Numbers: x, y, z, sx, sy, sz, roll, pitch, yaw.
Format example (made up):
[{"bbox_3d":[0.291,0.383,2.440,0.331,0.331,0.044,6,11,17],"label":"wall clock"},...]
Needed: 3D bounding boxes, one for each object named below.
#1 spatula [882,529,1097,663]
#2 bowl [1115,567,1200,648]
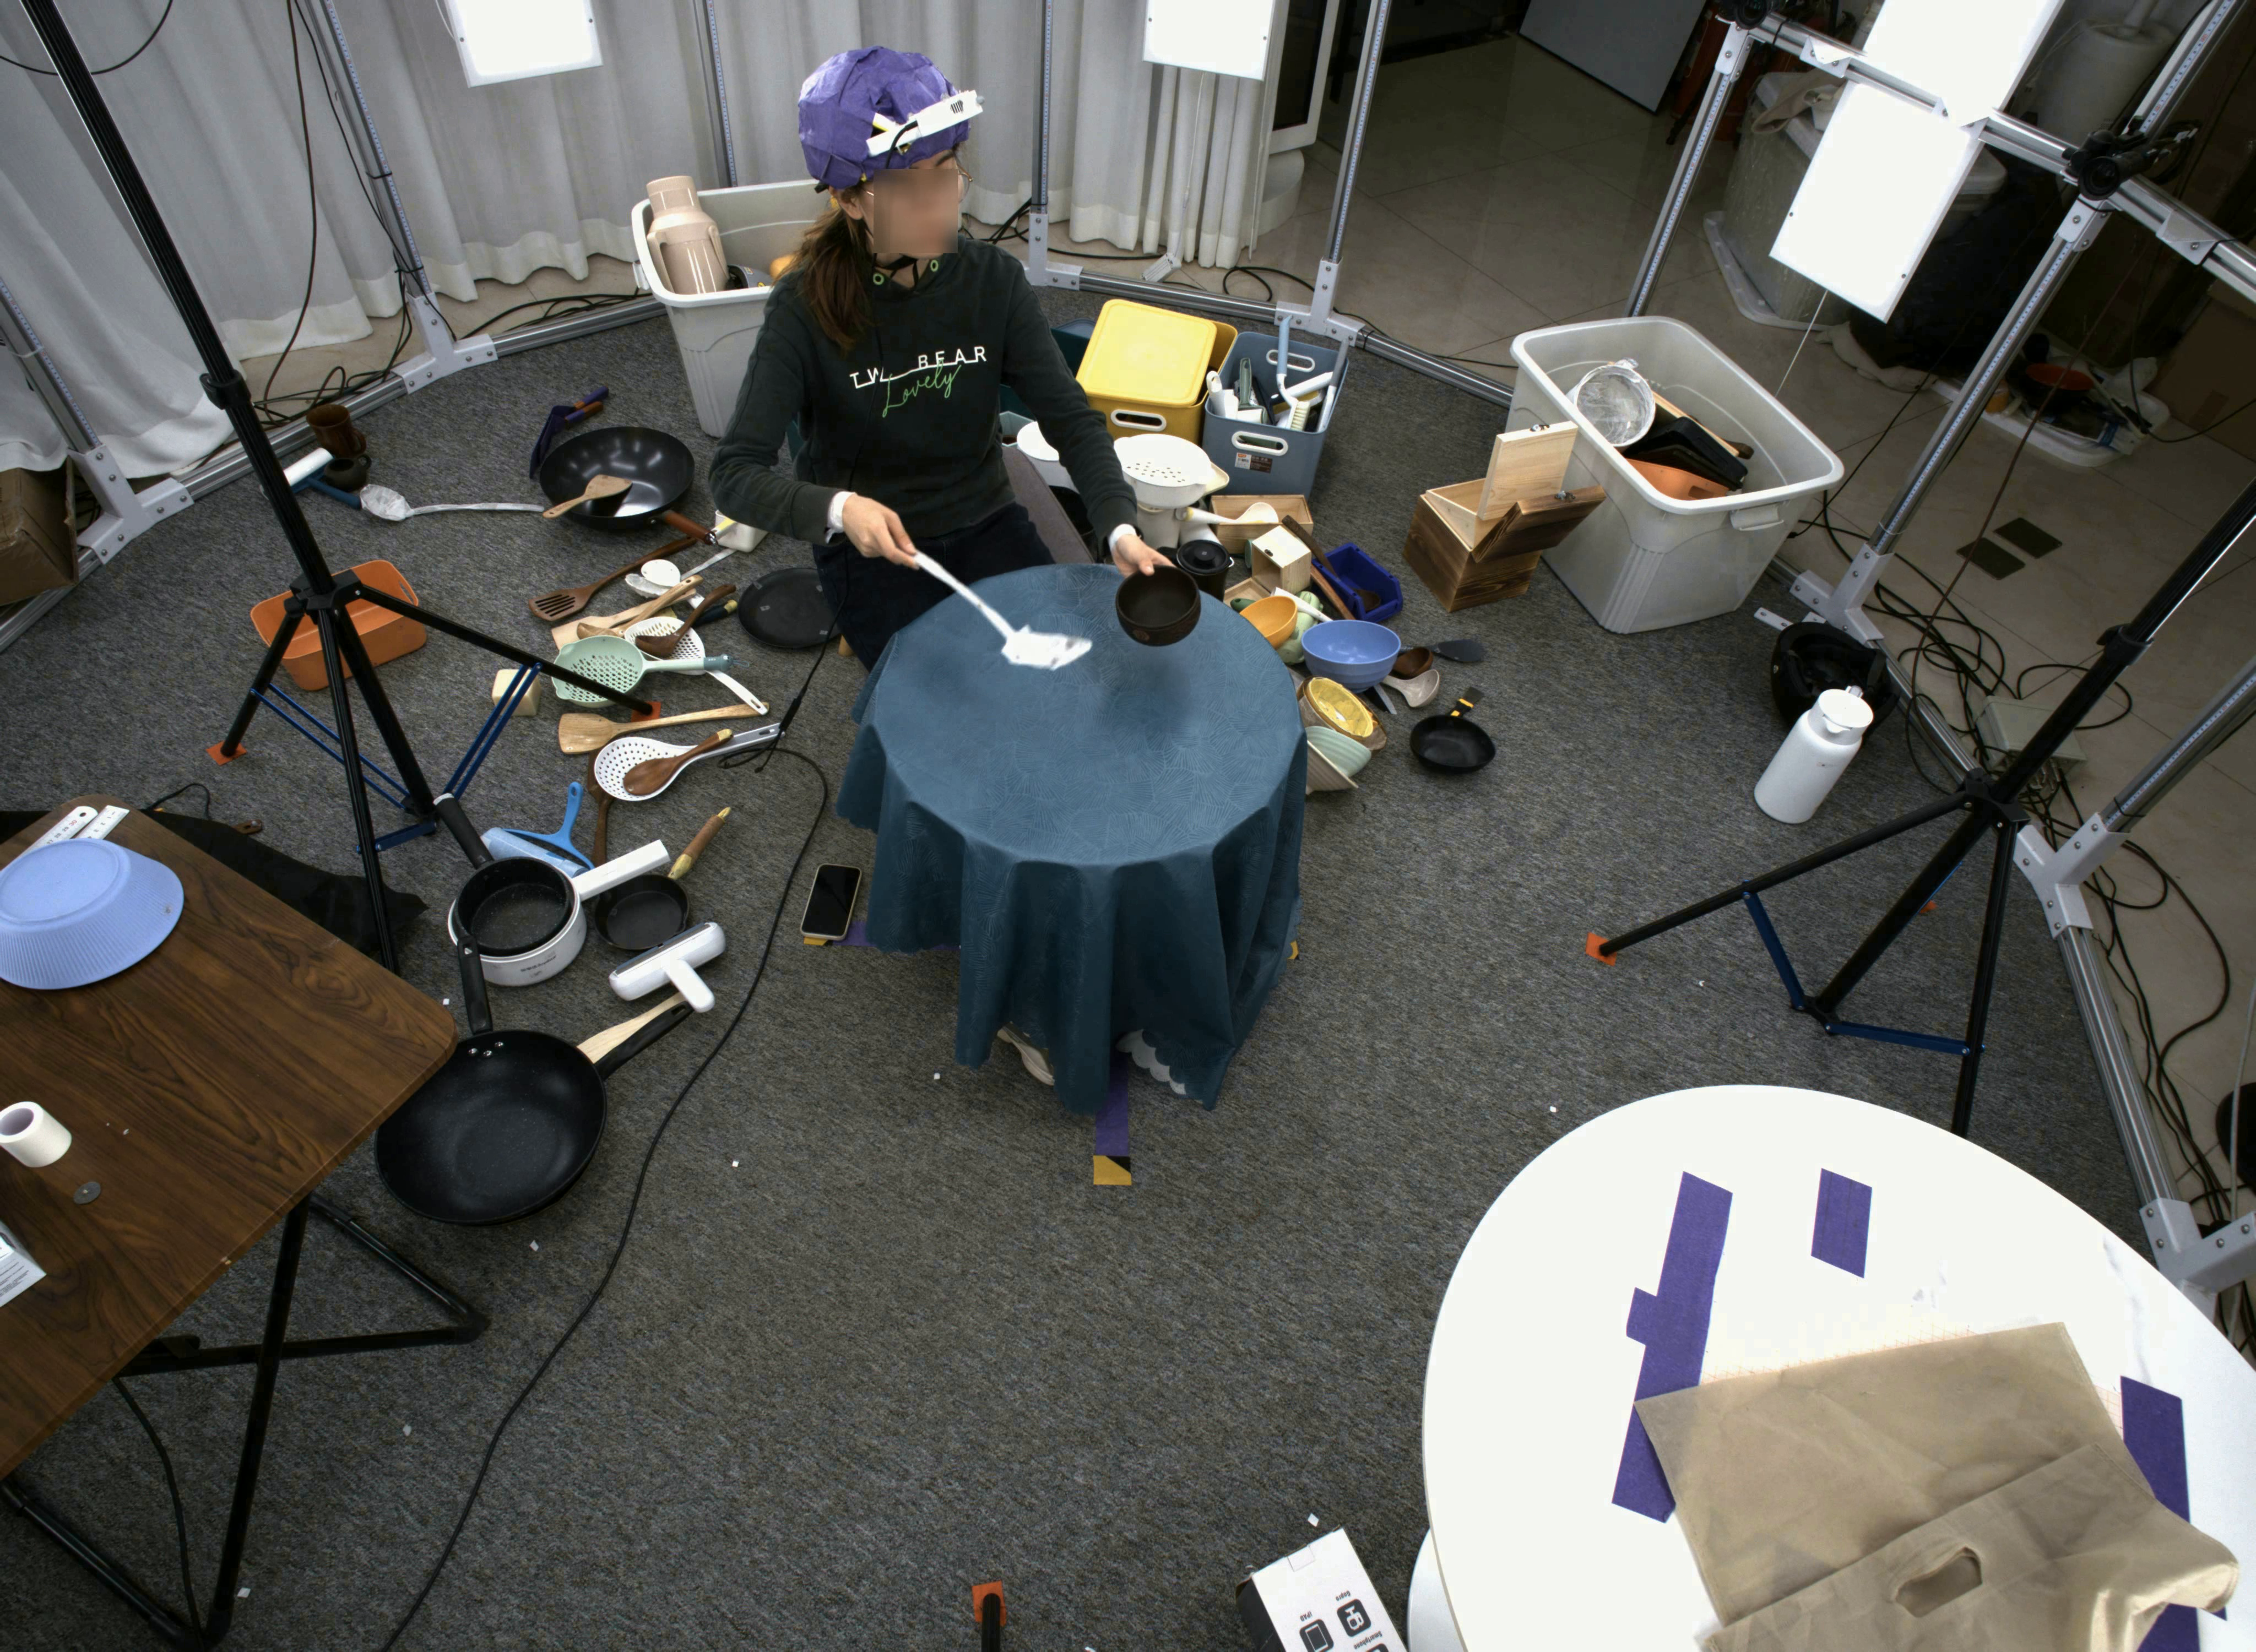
[{"bbox_3d":[-0.199,-0.308,1.683,0.369,0.044,0.099,38,47,20],"label":"spatula"},{"bbox_3d":[0.044,-0.298,1.800,0.118,0.068,0.121,-5,54,6],"label":"bowl"}]
